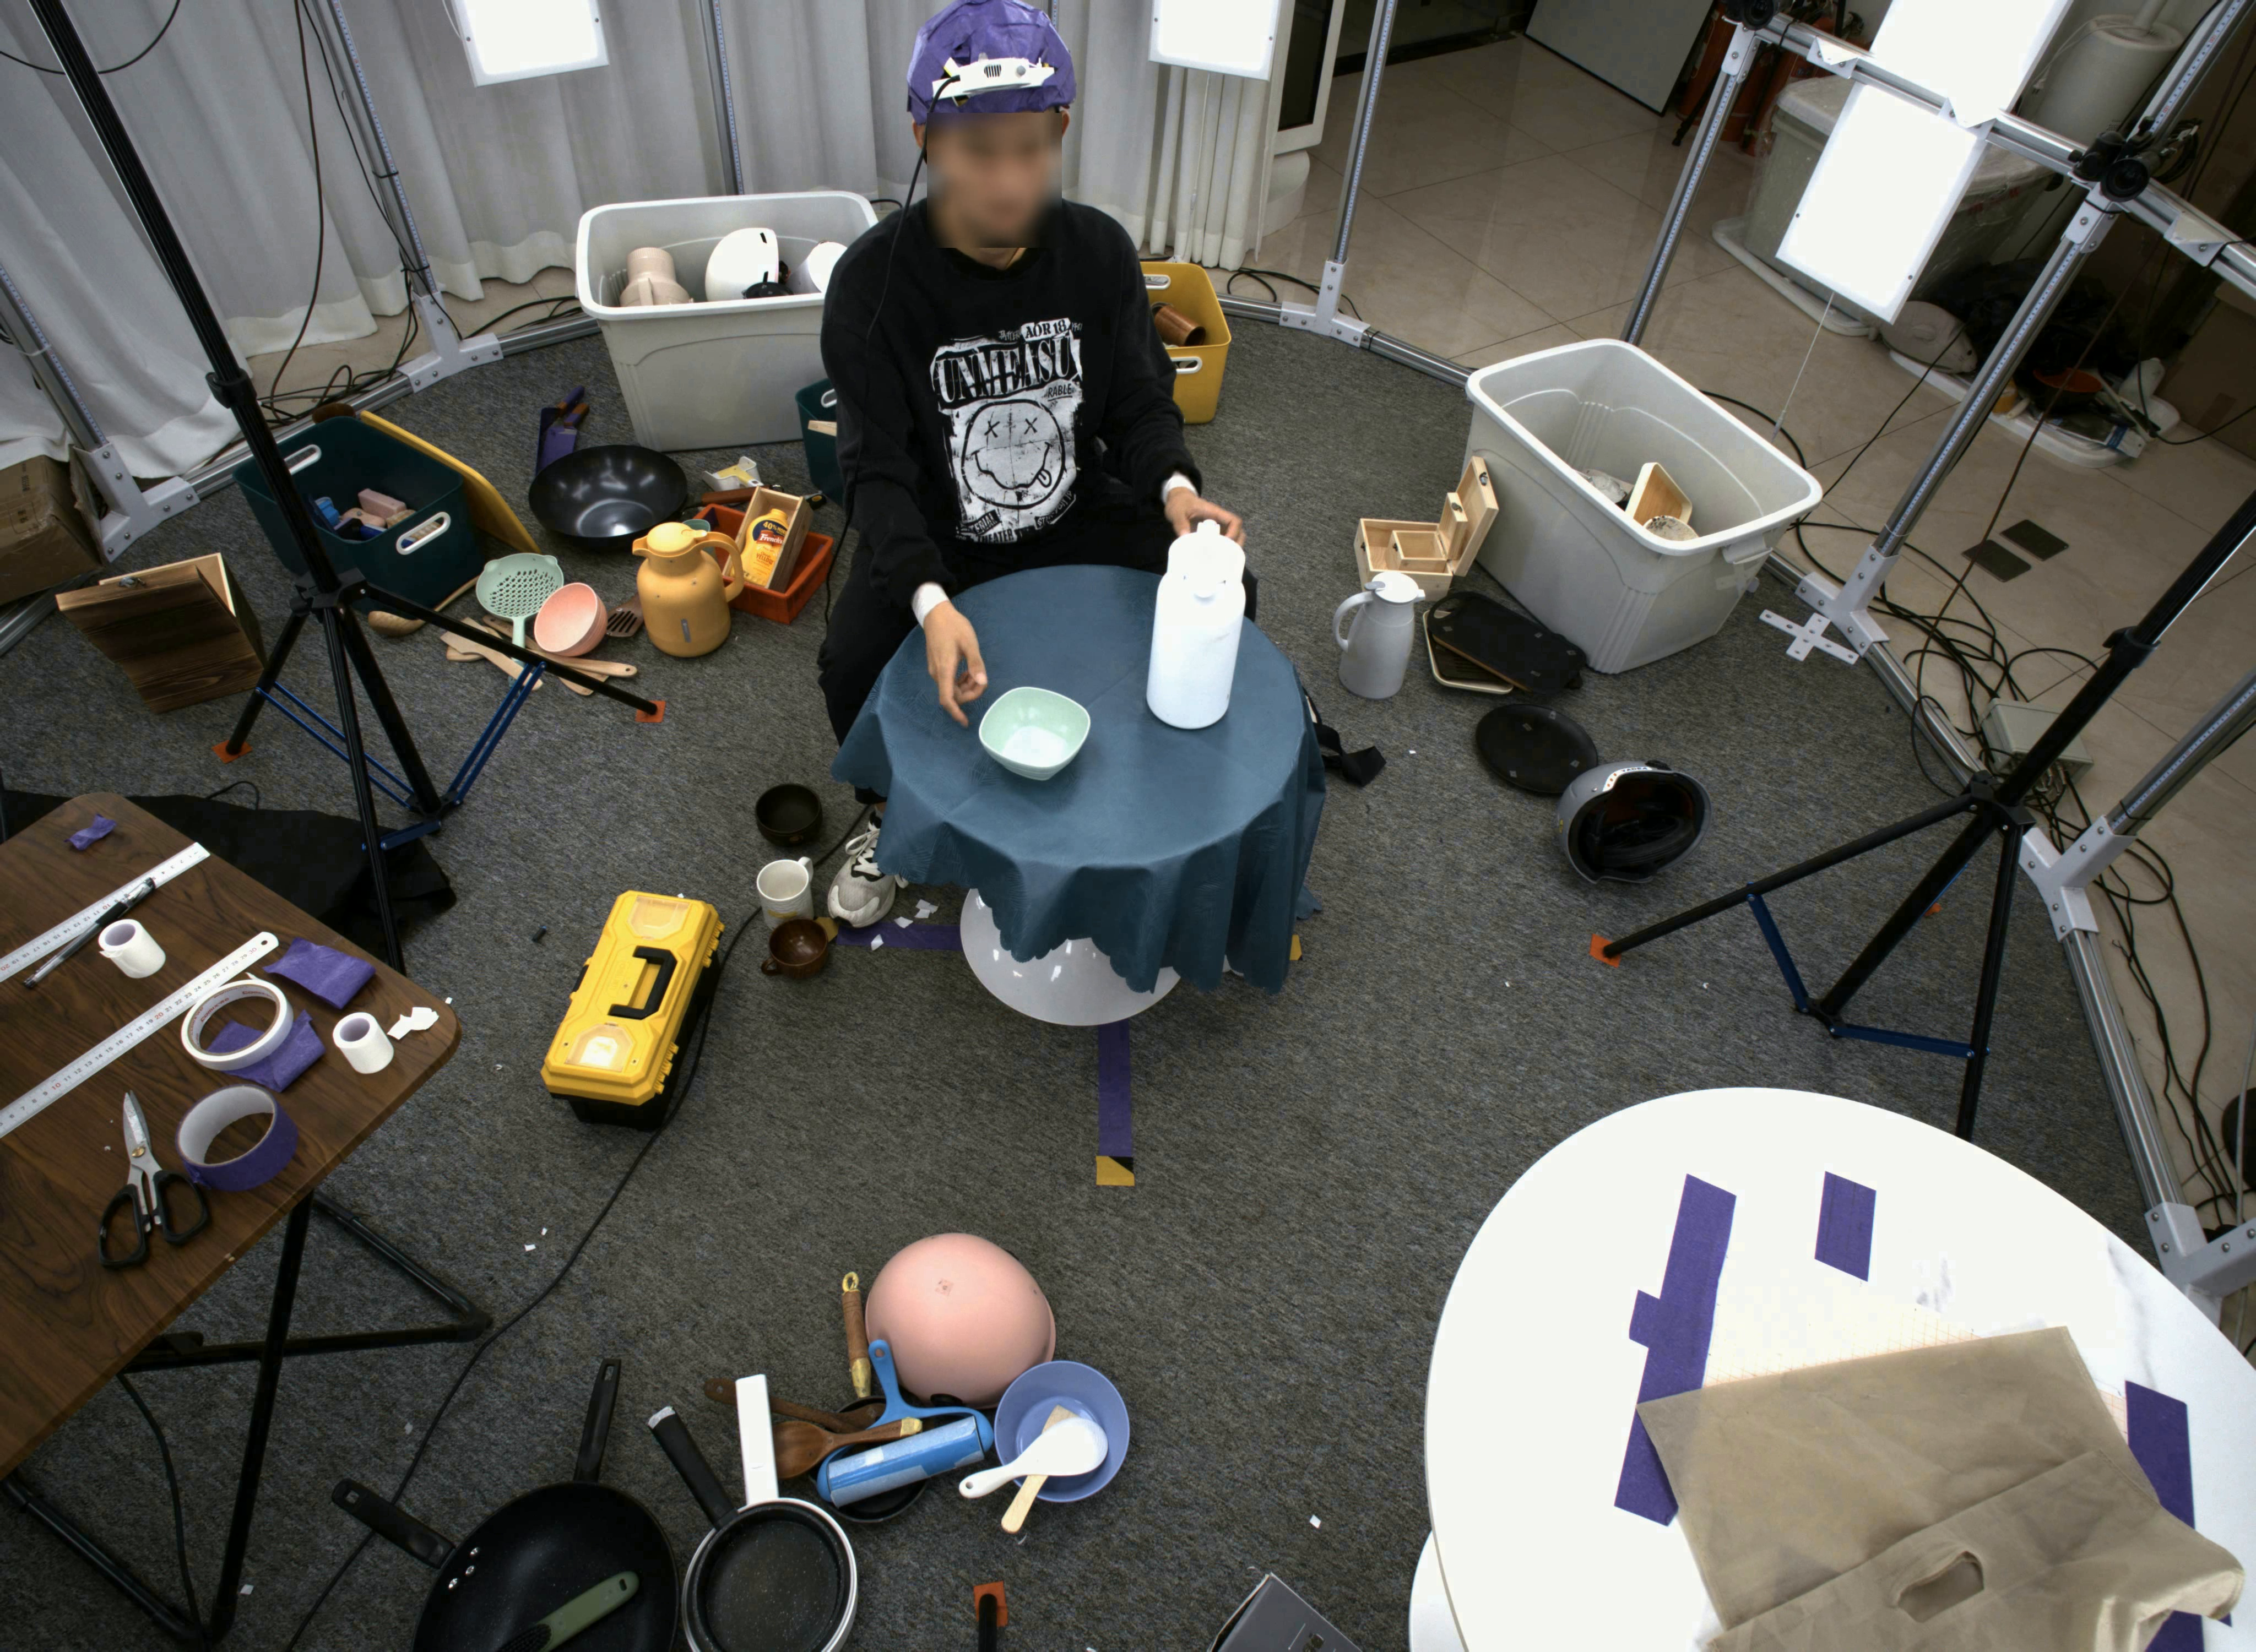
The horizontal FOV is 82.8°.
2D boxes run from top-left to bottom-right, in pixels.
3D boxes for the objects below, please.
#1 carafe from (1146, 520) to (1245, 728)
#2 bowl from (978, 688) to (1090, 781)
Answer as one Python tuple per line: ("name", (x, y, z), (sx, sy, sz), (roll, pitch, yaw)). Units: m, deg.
("carafe", (0.092, -0.274, 1.741), (0.124, 0.262, 0.177), (4, 49, 2))
("bowl", (-0.127, -0.114, 1.727), (0.151, 0.057, 0.155), (2, 49, -2))
